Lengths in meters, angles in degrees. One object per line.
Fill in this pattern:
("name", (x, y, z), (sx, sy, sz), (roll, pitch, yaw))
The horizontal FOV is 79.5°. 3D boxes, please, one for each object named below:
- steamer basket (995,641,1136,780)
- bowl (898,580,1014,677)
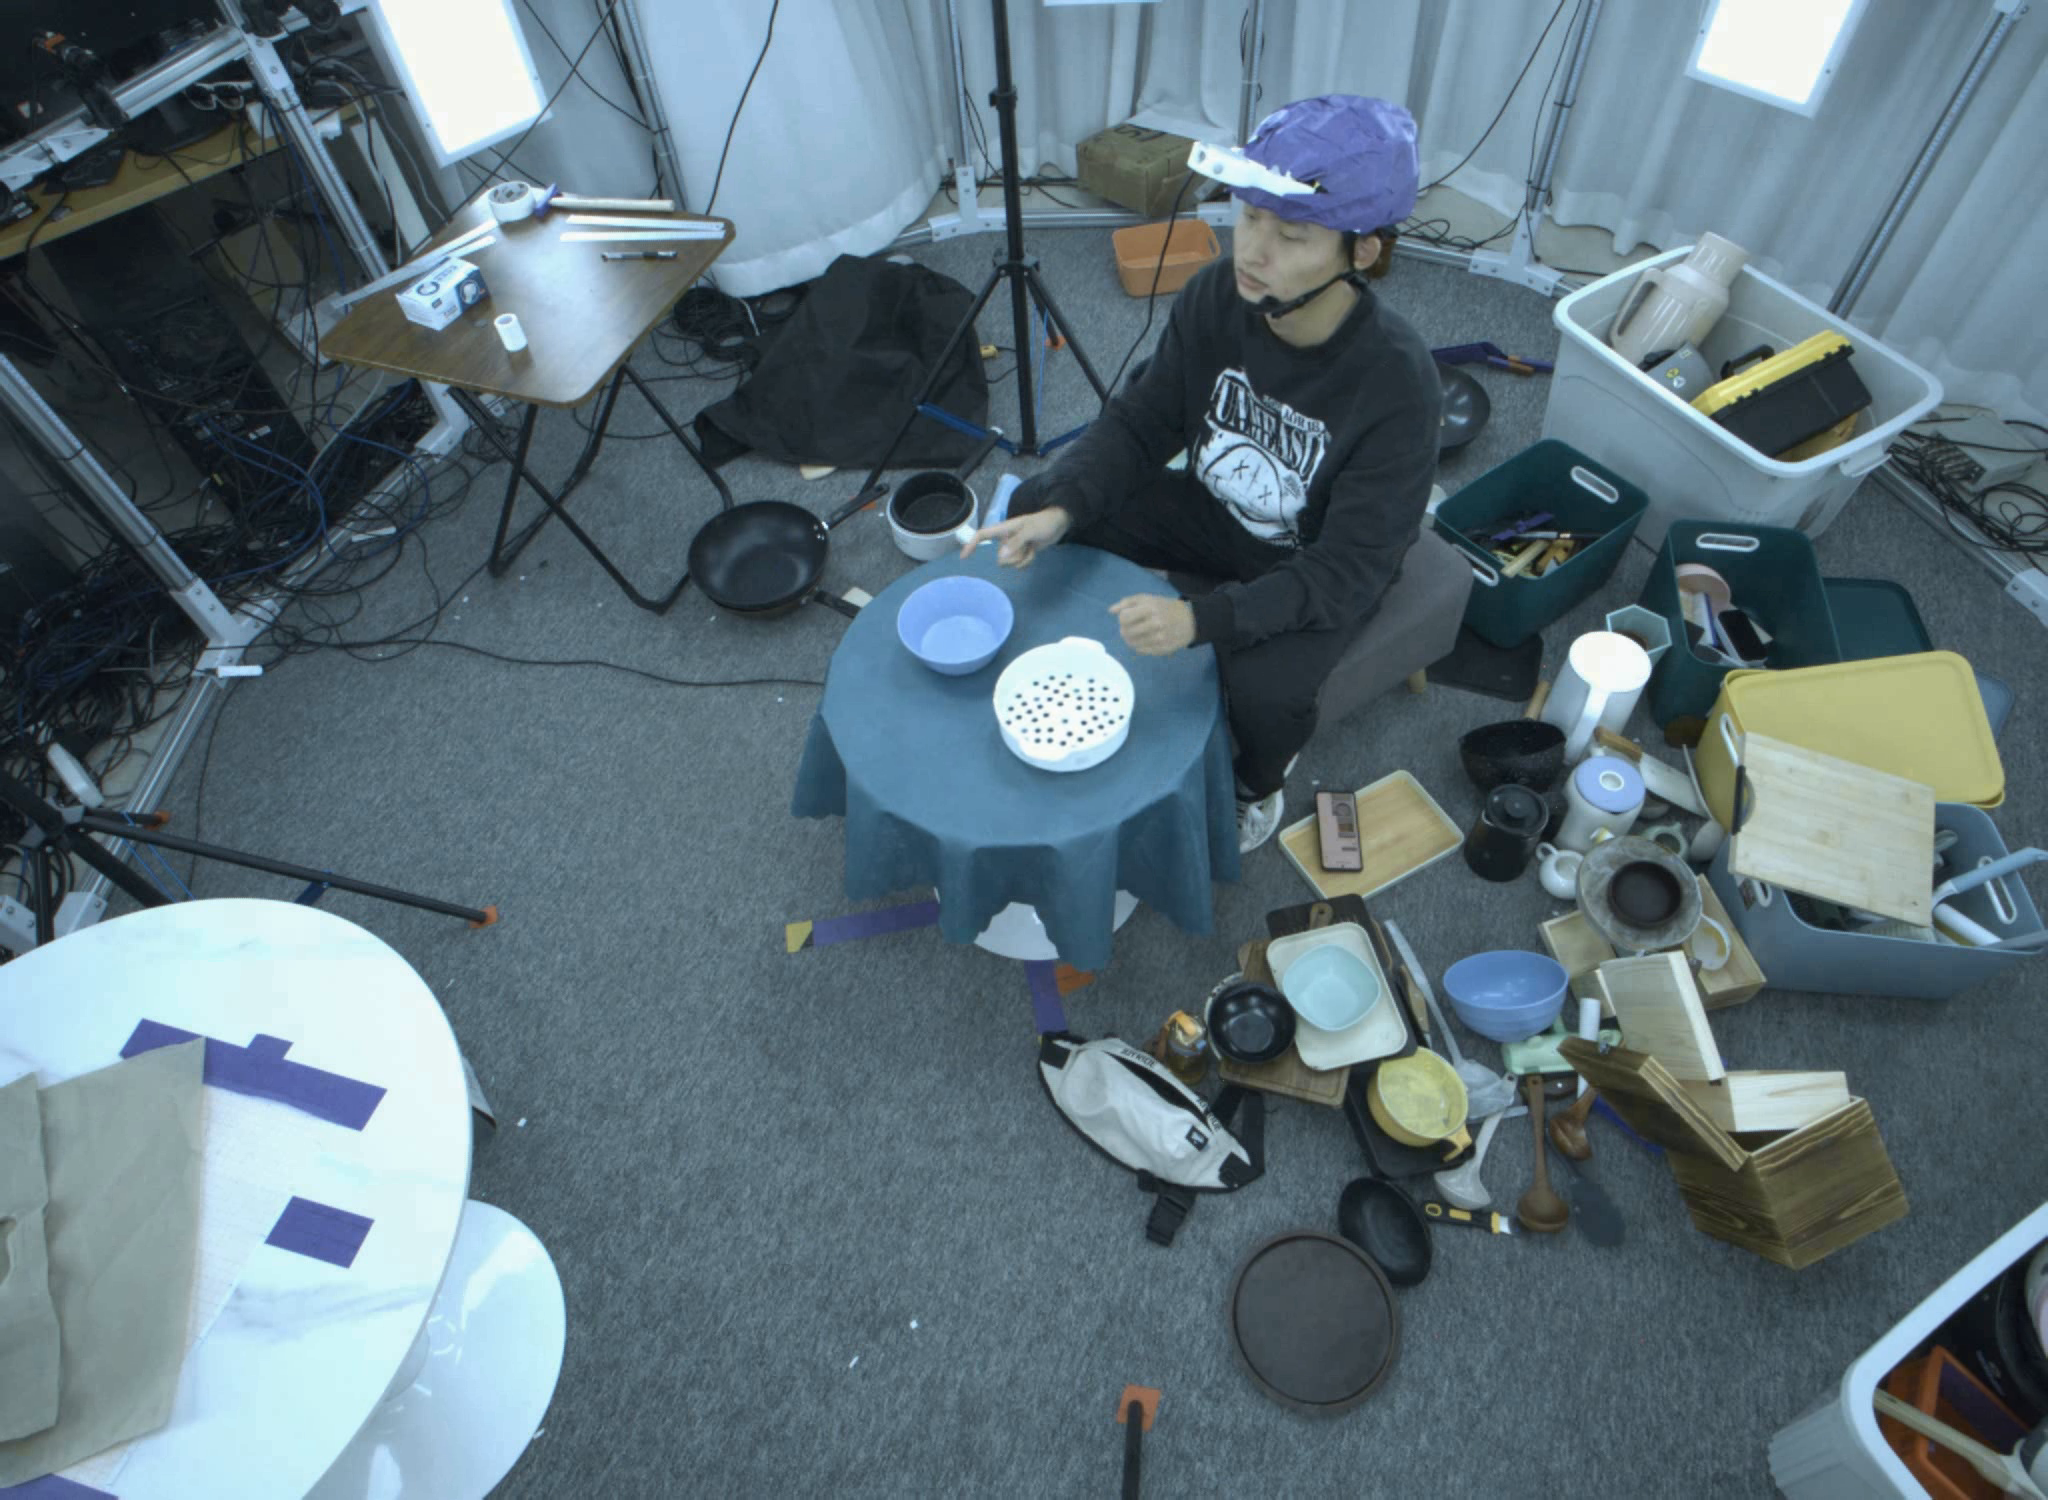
("steamer basket", (0.061, -0.051, 1.790), (0.200, 0.070, 0.230), (12, 59, 11))
("bowl", (-0.102, -0.177, 1.881), (0.176, 0.071, 0.174), (0, 55, 1))
